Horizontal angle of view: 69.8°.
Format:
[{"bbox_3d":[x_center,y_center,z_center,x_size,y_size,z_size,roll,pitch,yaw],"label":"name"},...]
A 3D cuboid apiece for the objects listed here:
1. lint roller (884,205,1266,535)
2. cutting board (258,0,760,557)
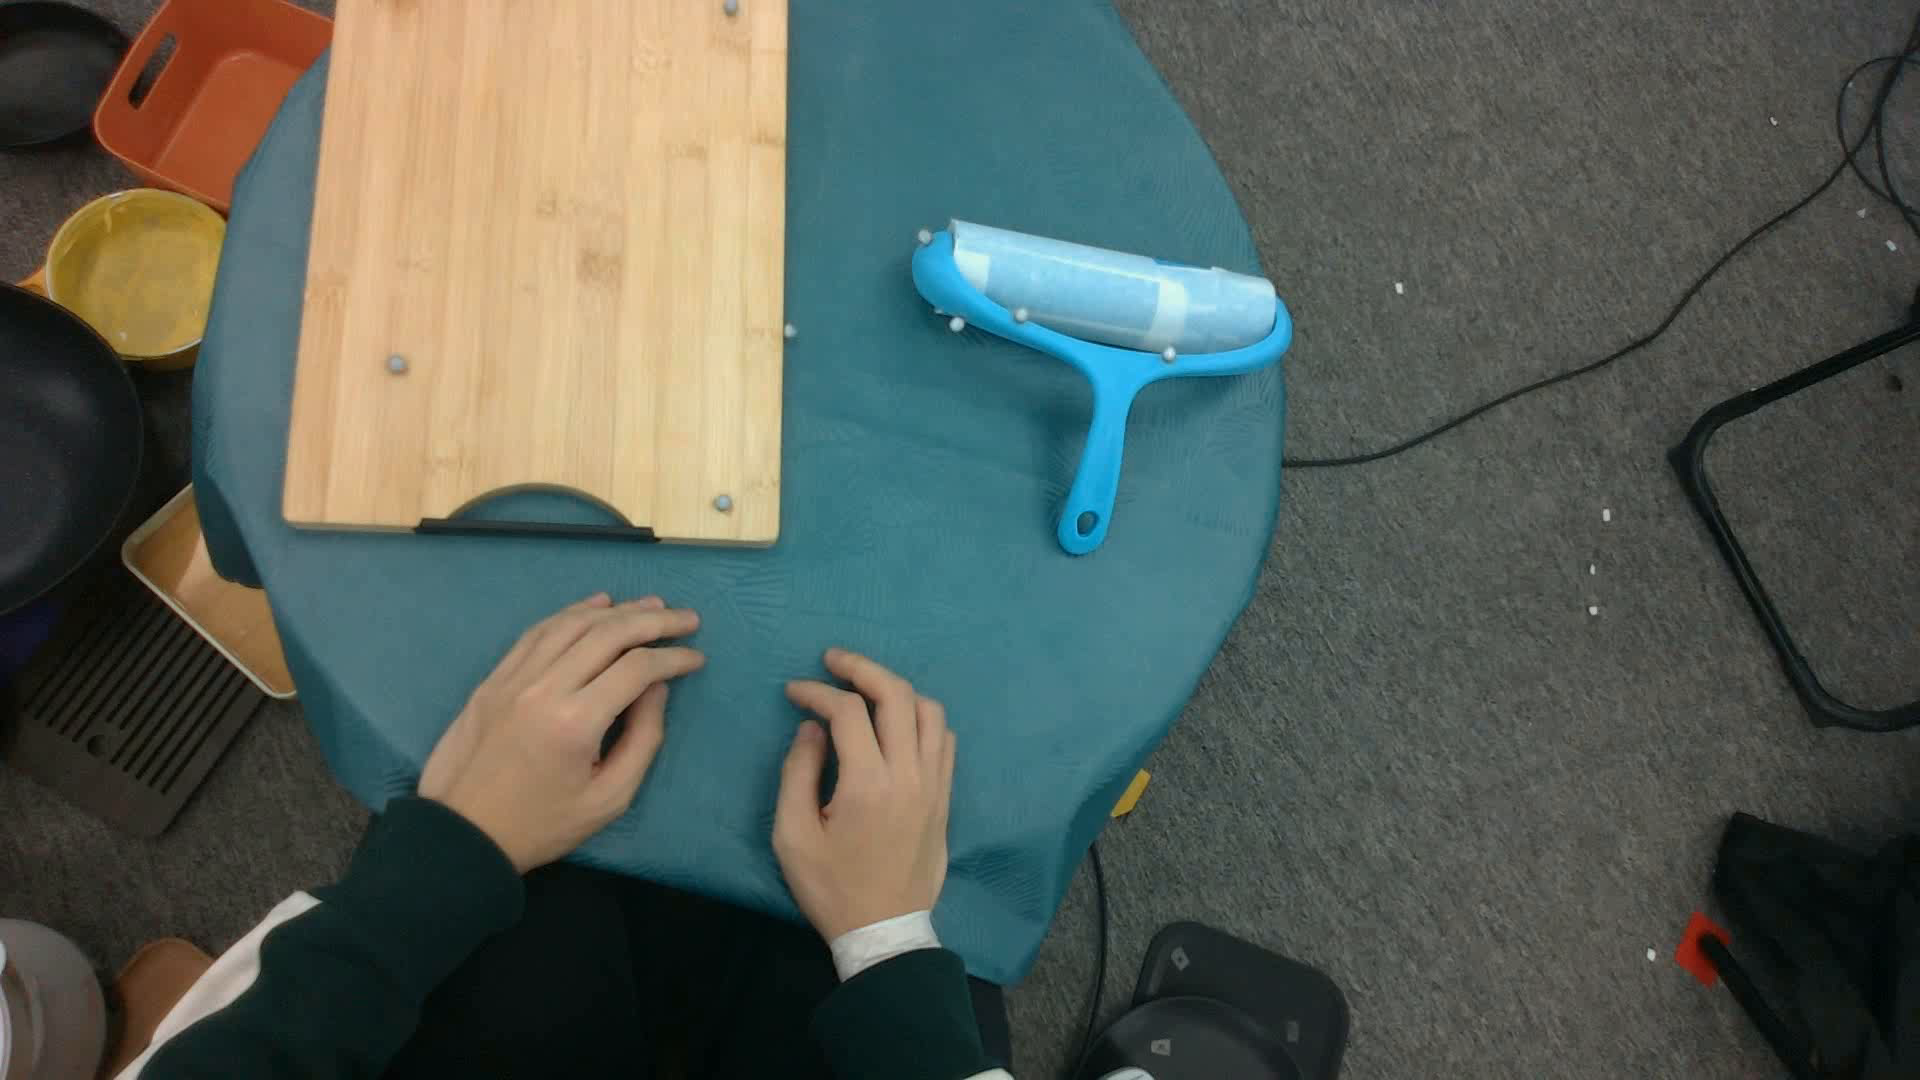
[{"bbox_3d":[0.069,-0.097,0.785,0.229,0.067,0.180,4,75,-15],"label":"lint roller"},{"bbox_3d":[-0.232,-0.161,0.743,0.251,0.023,0.349,0,77,-15],"label":"cutting board"}]
